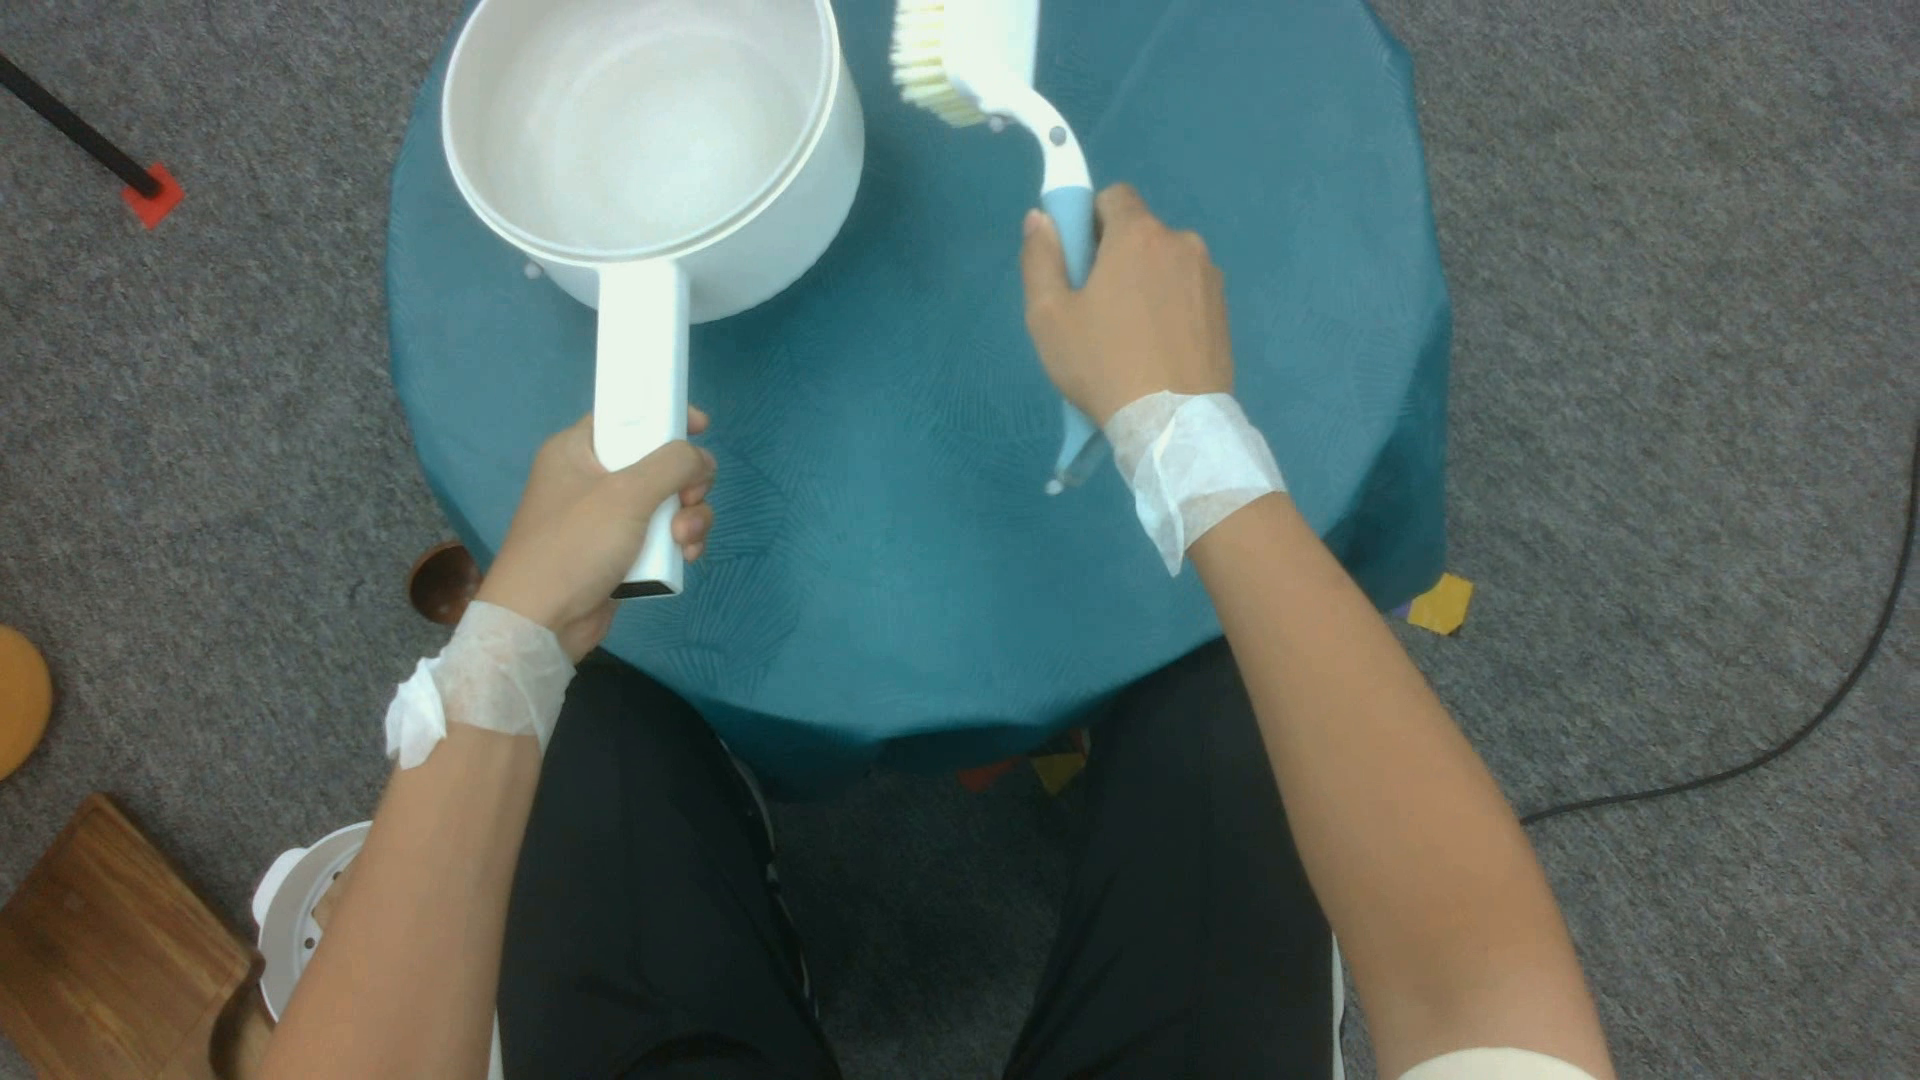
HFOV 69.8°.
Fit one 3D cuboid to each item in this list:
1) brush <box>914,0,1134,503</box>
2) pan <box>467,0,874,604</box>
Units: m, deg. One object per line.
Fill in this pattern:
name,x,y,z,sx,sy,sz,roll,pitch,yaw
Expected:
brush,0.022,-0.172,0.679,0.083,0.084,0.326,-1,78,-17
pan,-0.143,-0.136,0.710,0.201,0.102,0.355,-5,73,8
